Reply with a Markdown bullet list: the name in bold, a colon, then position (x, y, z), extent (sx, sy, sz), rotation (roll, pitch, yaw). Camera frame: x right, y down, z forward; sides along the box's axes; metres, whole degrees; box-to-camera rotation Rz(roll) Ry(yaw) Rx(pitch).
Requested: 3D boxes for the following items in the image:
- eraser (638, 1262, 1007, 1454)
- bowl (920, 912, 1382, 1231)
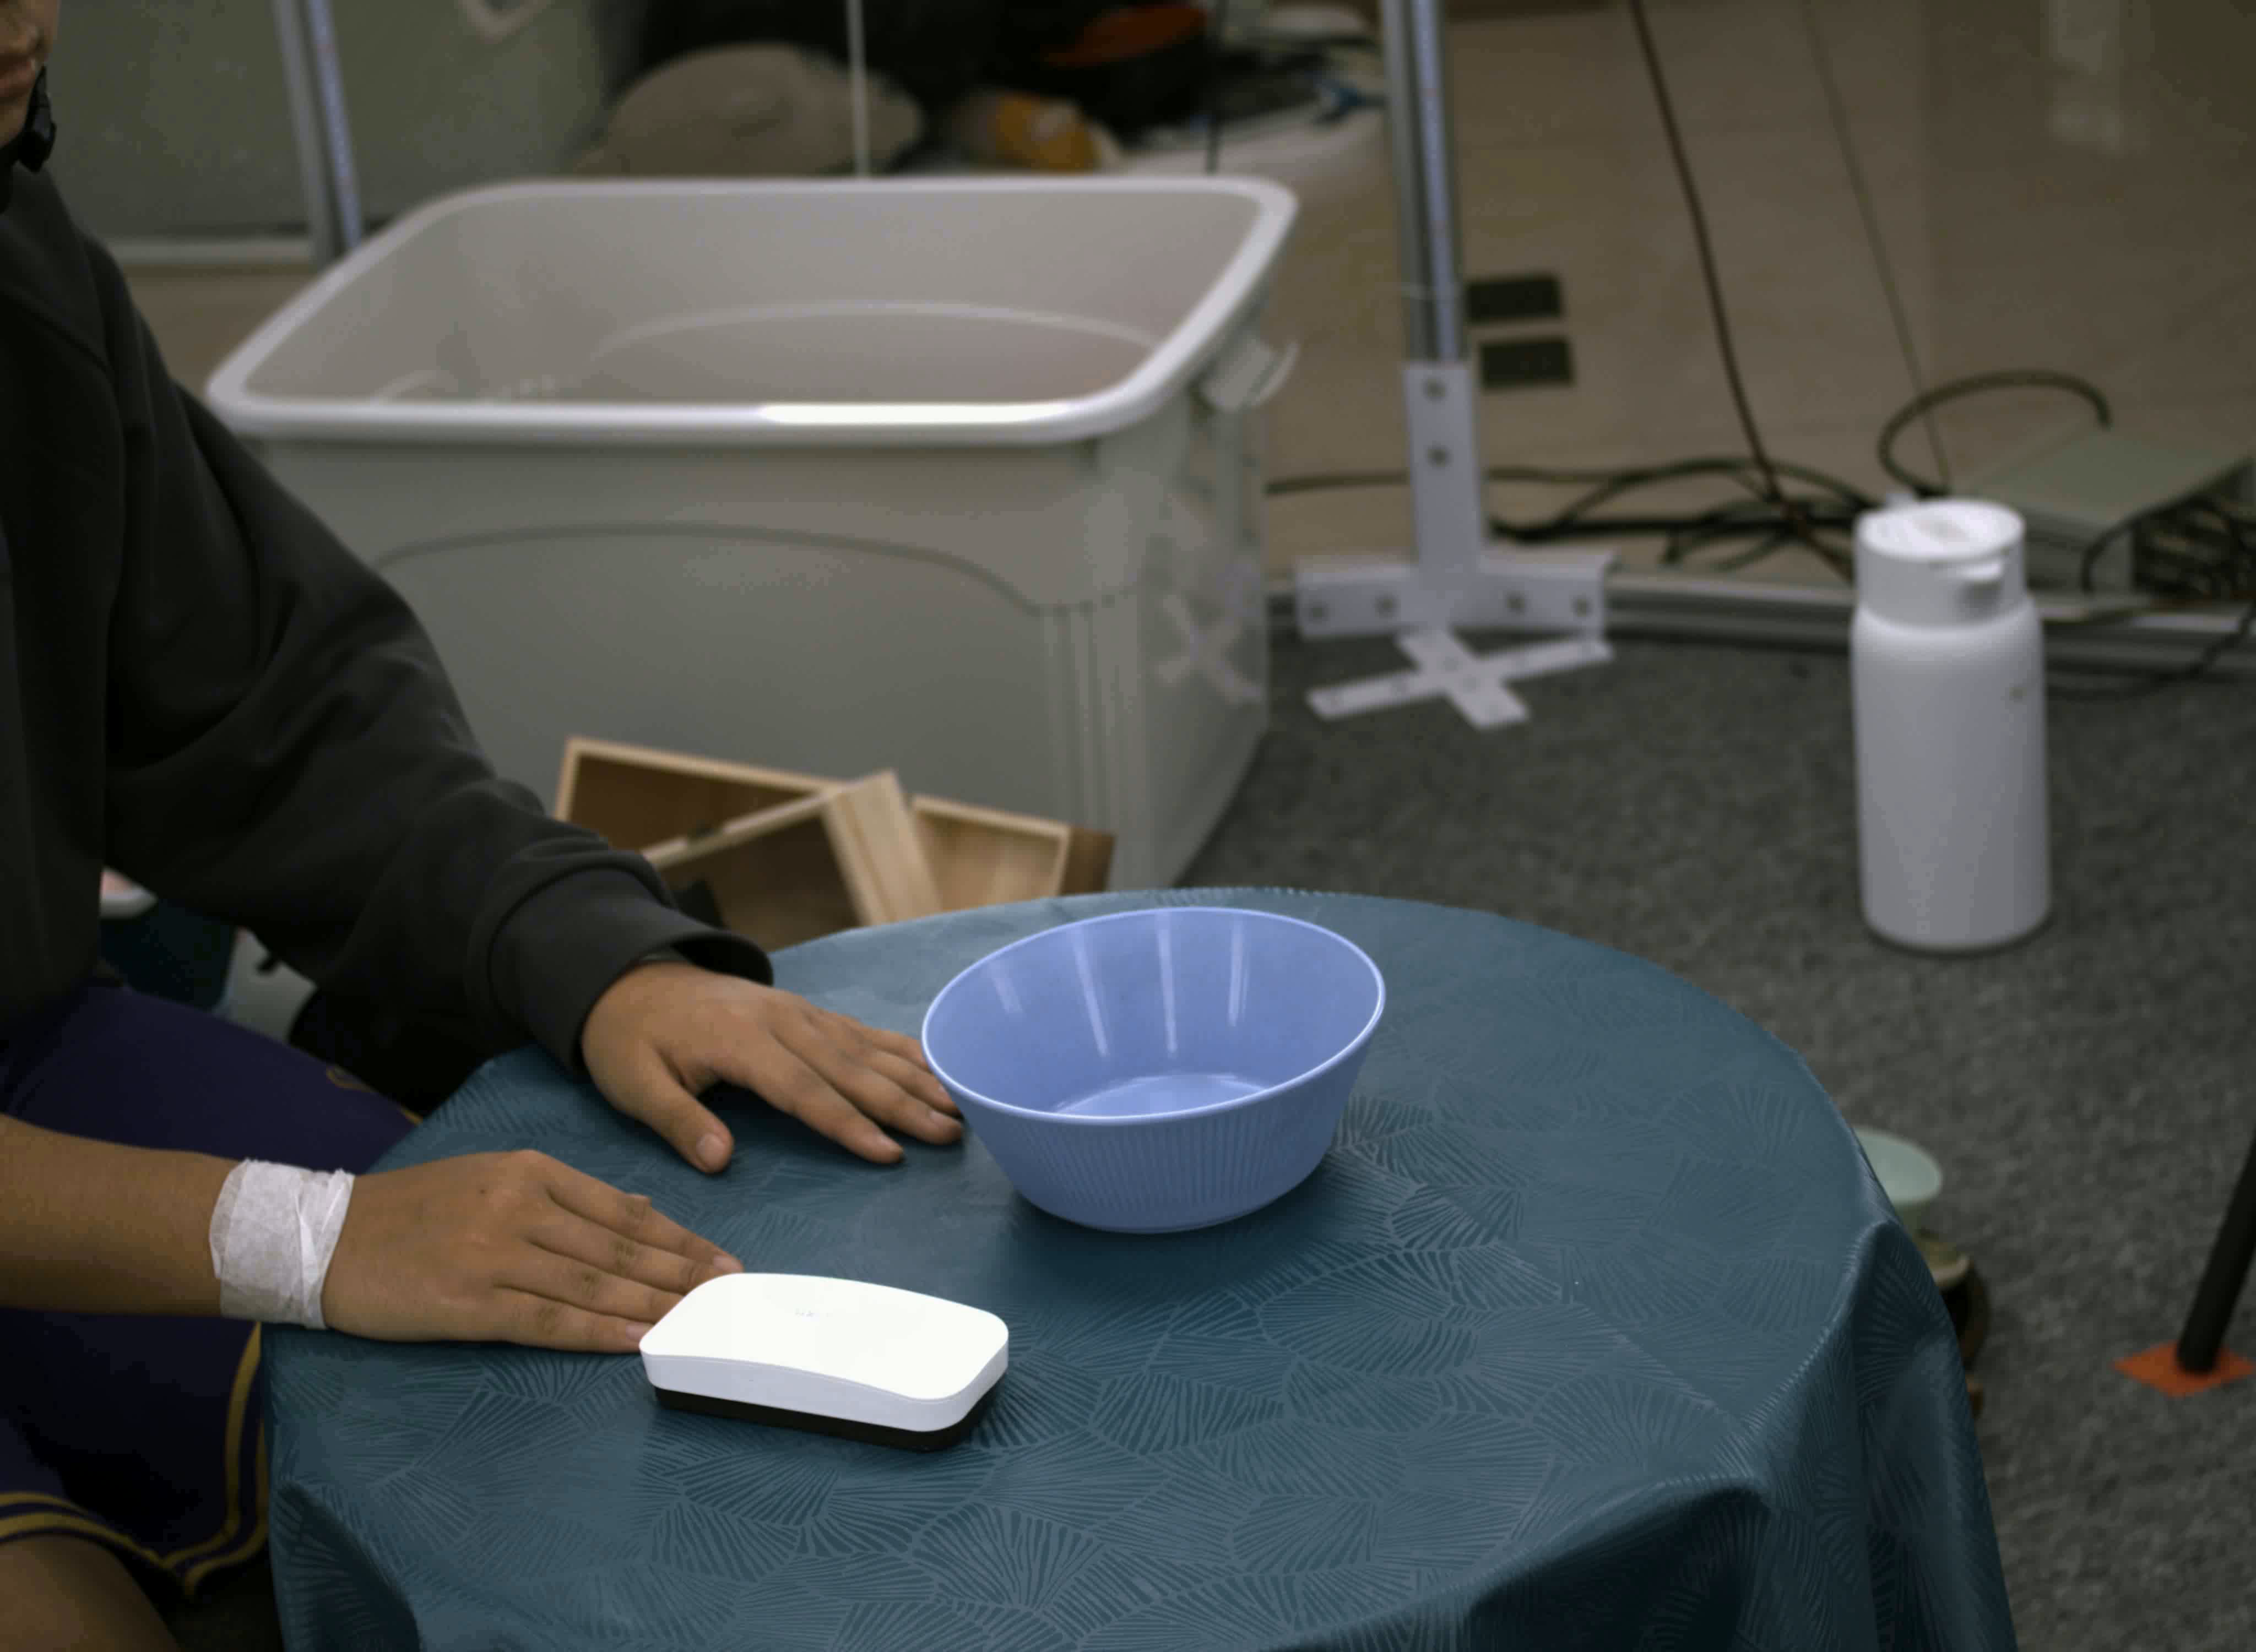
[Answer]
- **eraser**: position (-0.108, 0.188, 2.029), extent (0.131, 0.035, 0.062), rotation (9, 28, 27)
- **bowl**: position (0.011, 0.098, 2.146), extent (0.176, 0.071, 0.173), rotation (-5, 24, 2)
